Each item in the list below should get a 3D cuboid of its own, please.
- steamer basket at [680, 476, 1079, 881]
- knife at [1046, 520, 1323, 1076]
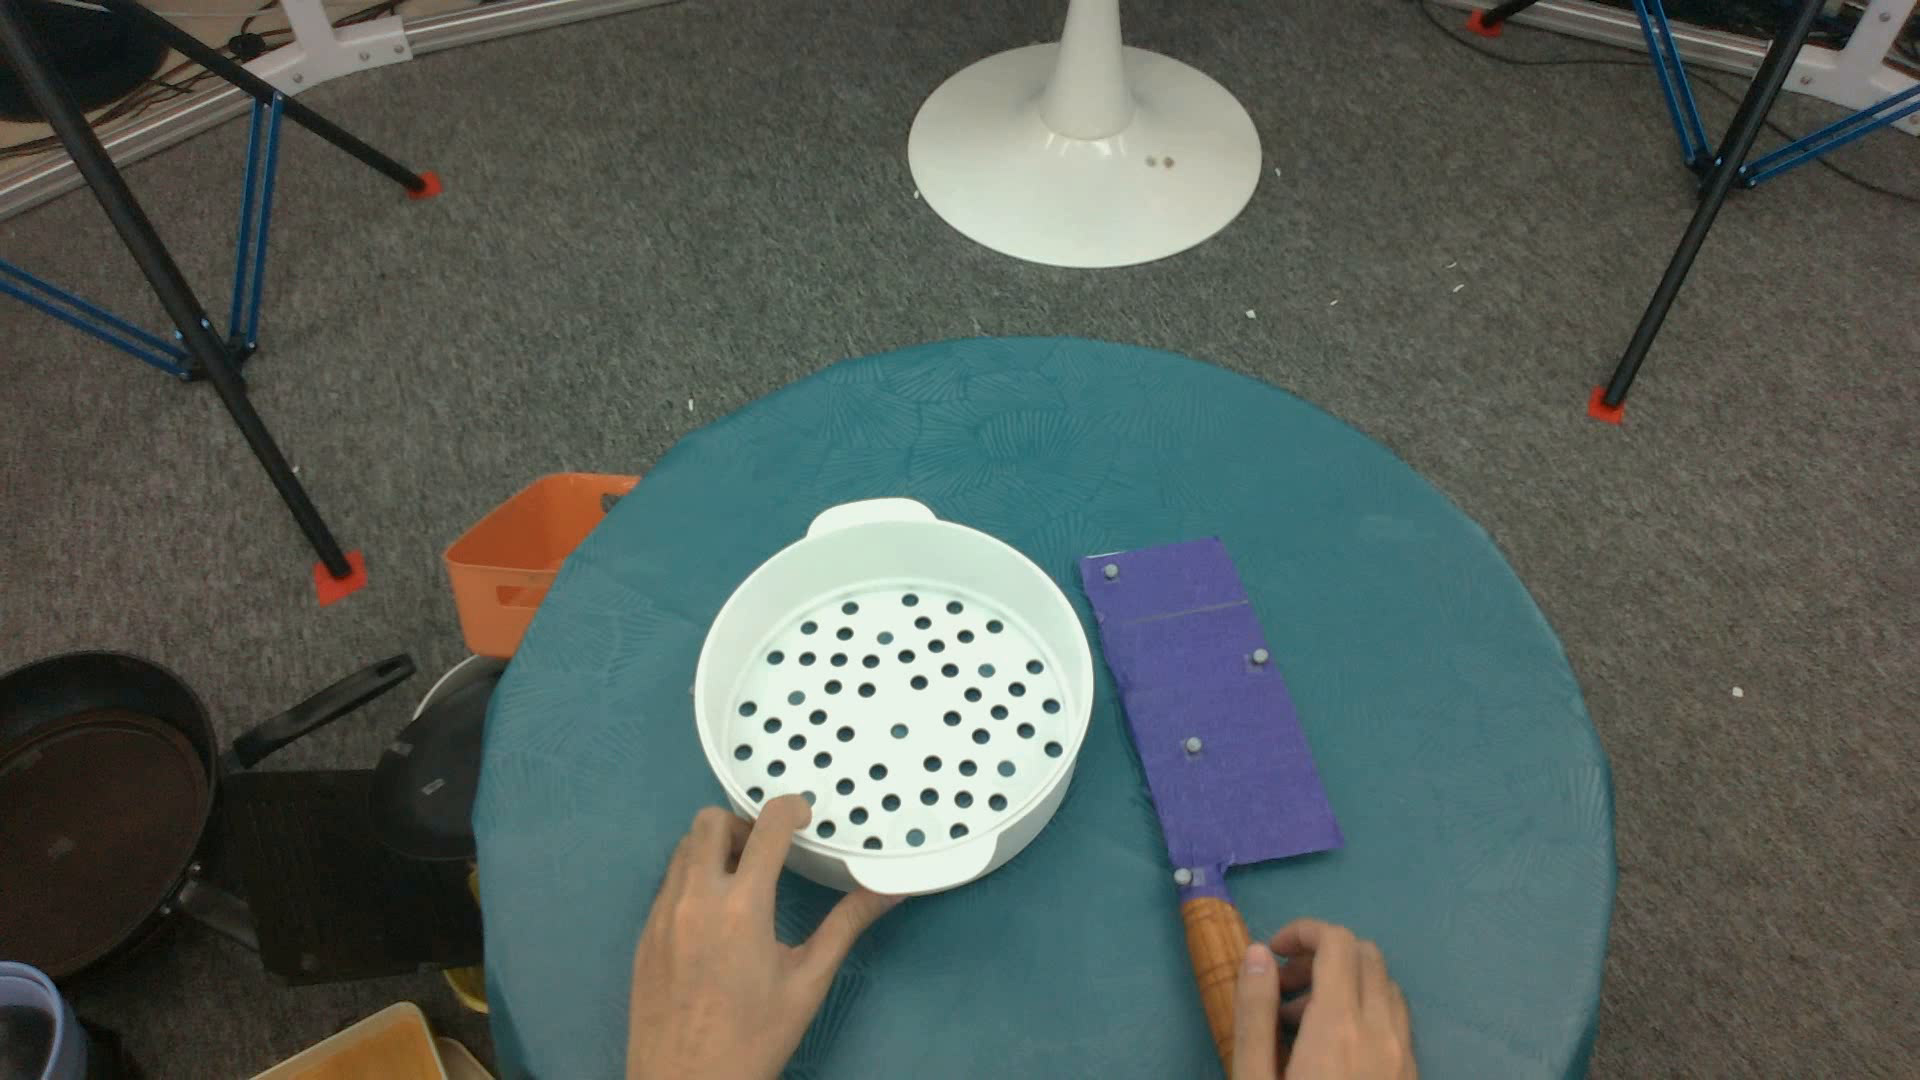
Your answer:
[{"bbox_3d":[-0.040,0.076,0.721,0.202,0.069,0.231,-8,57,-5],"label":"steamer basket"},{"bbox_3d":[0.132,0.111,0.721,0.104,0.032,0.316,-9,53,-7],"label":"knife"}]
